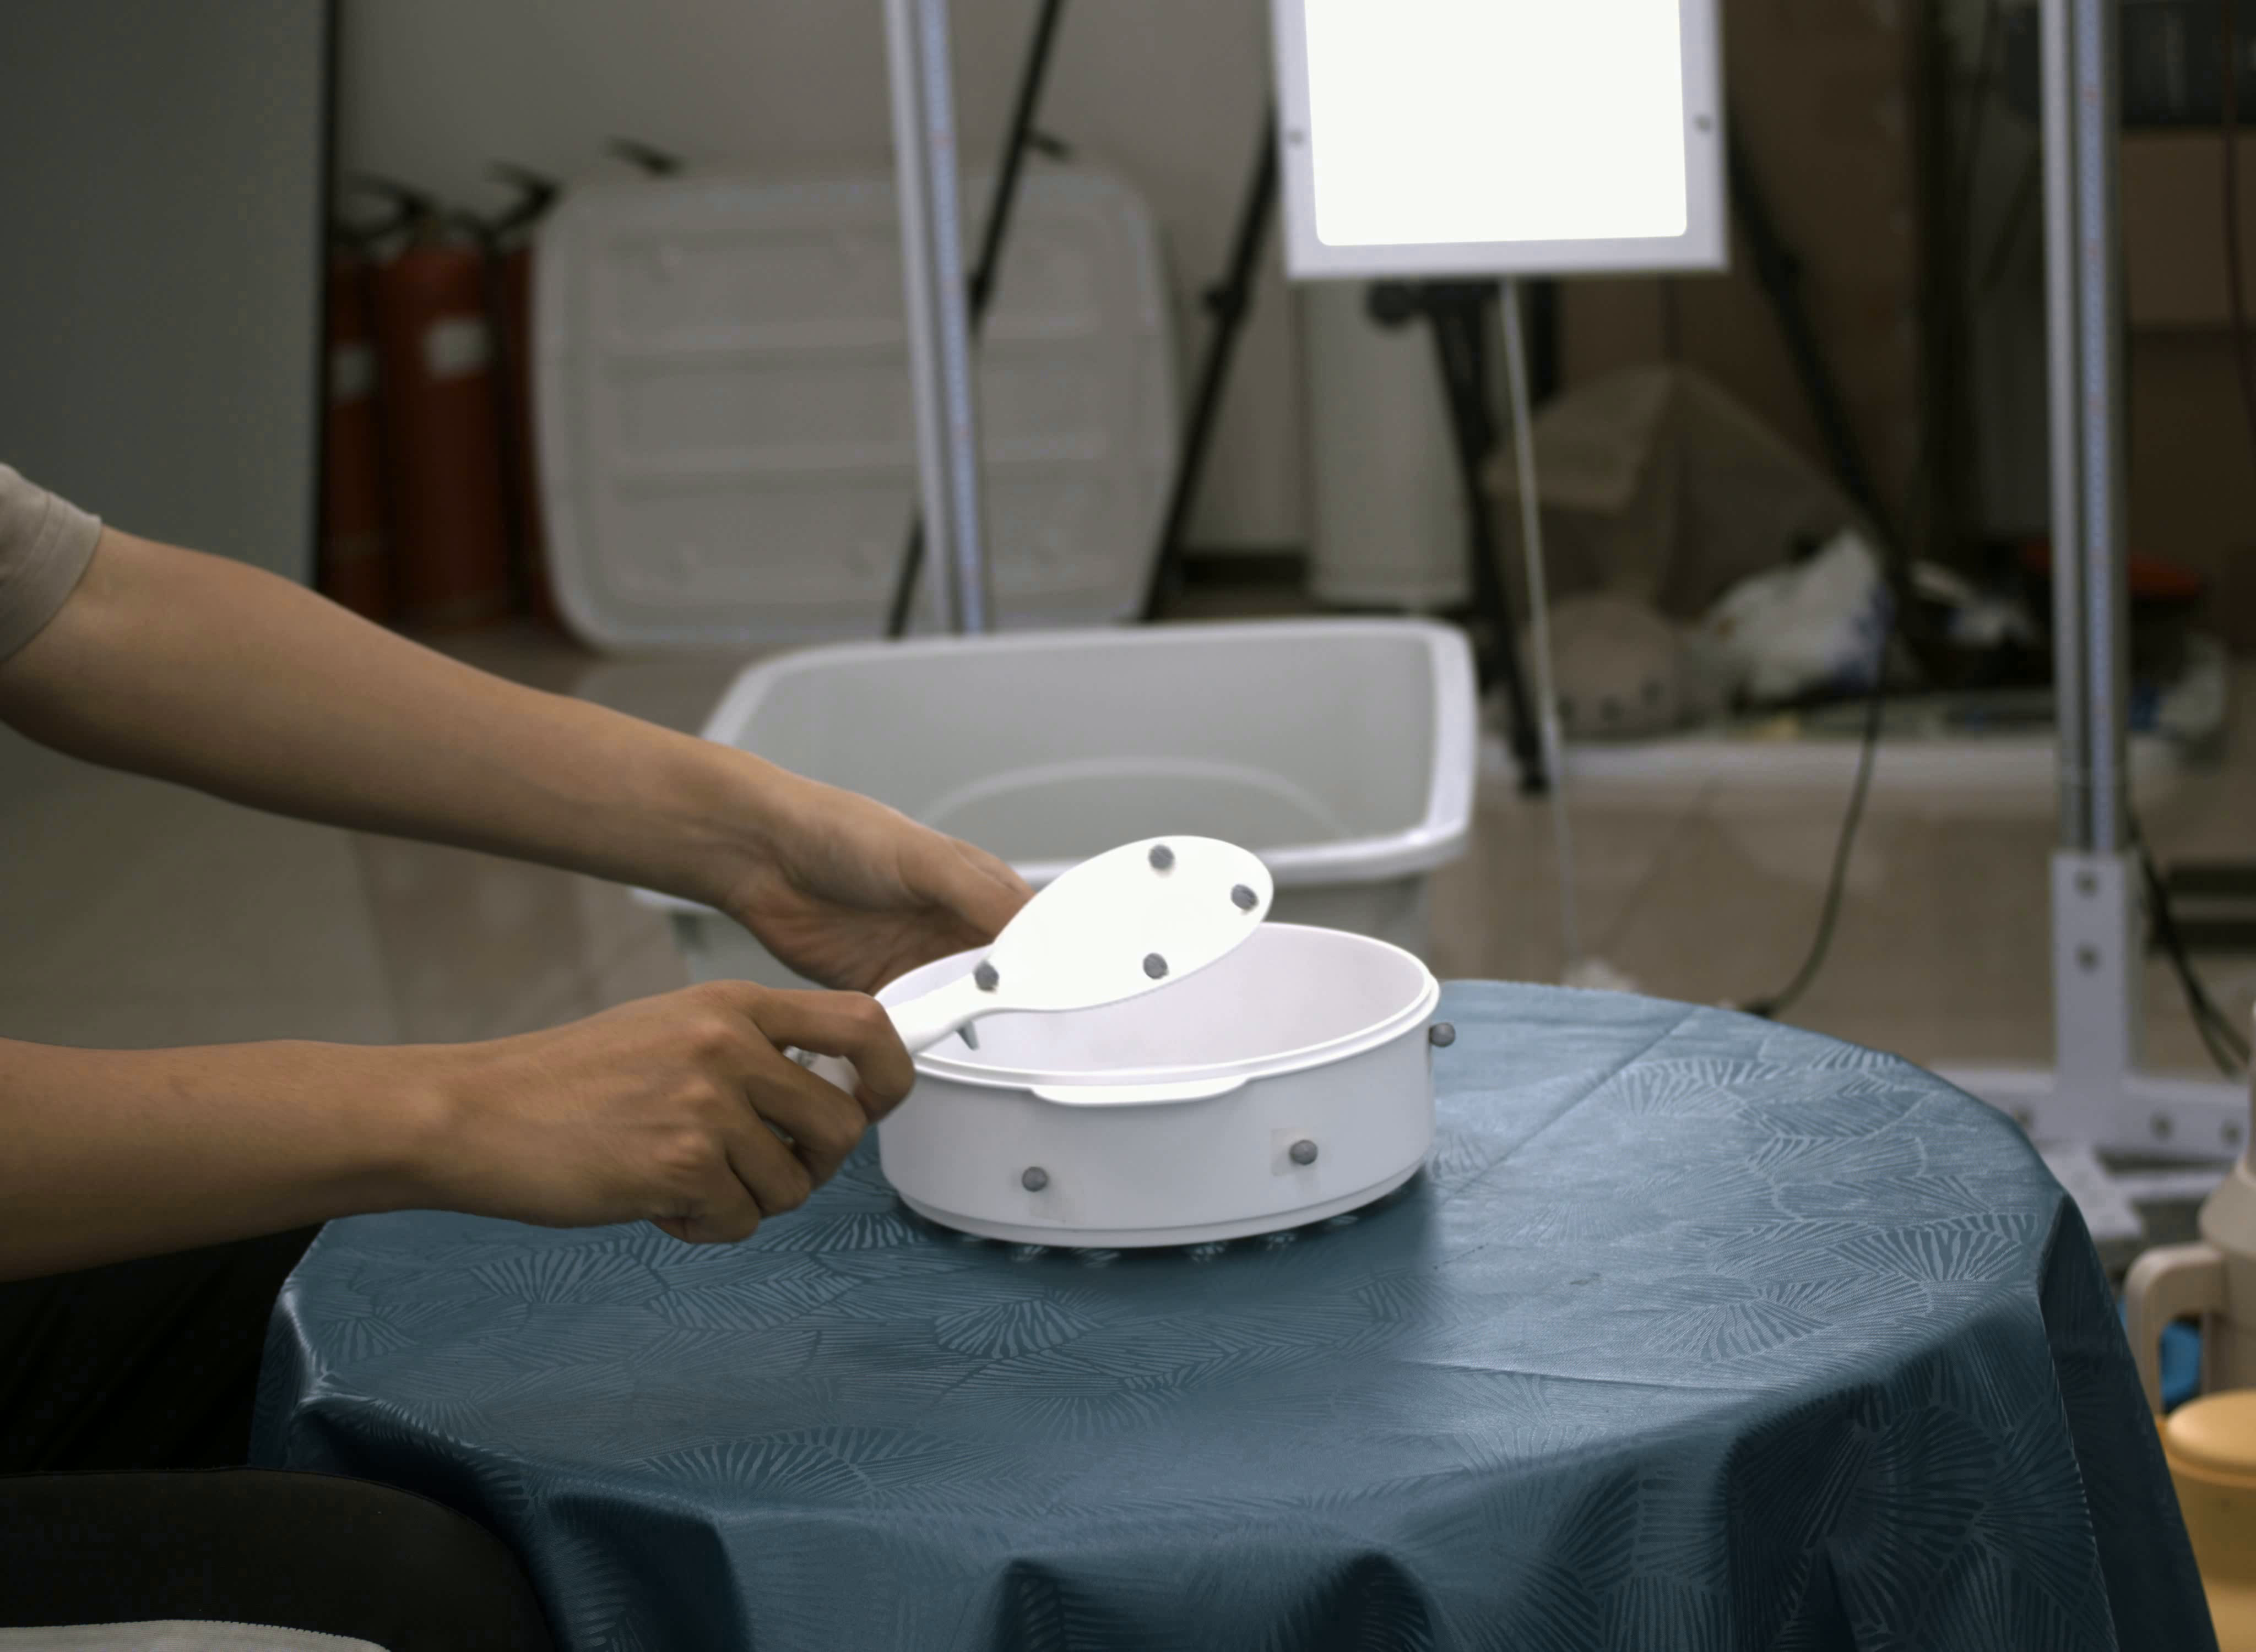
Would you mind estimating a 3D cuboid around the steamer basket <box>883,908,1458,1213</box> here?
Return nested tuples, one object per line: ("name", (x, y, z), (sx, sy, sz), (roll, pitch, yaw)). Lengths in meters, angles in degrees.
("steamer basket", (0.016, 0.081, 1.914), (0.202, 0.069, 0.229), (-3, 12, 5))

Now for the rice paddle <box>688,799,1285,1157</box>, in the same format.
("rice paddle", (-0.042, 0.043, 1.729), (0.203, 0.029, 0.069), (-27, 42, -11))
